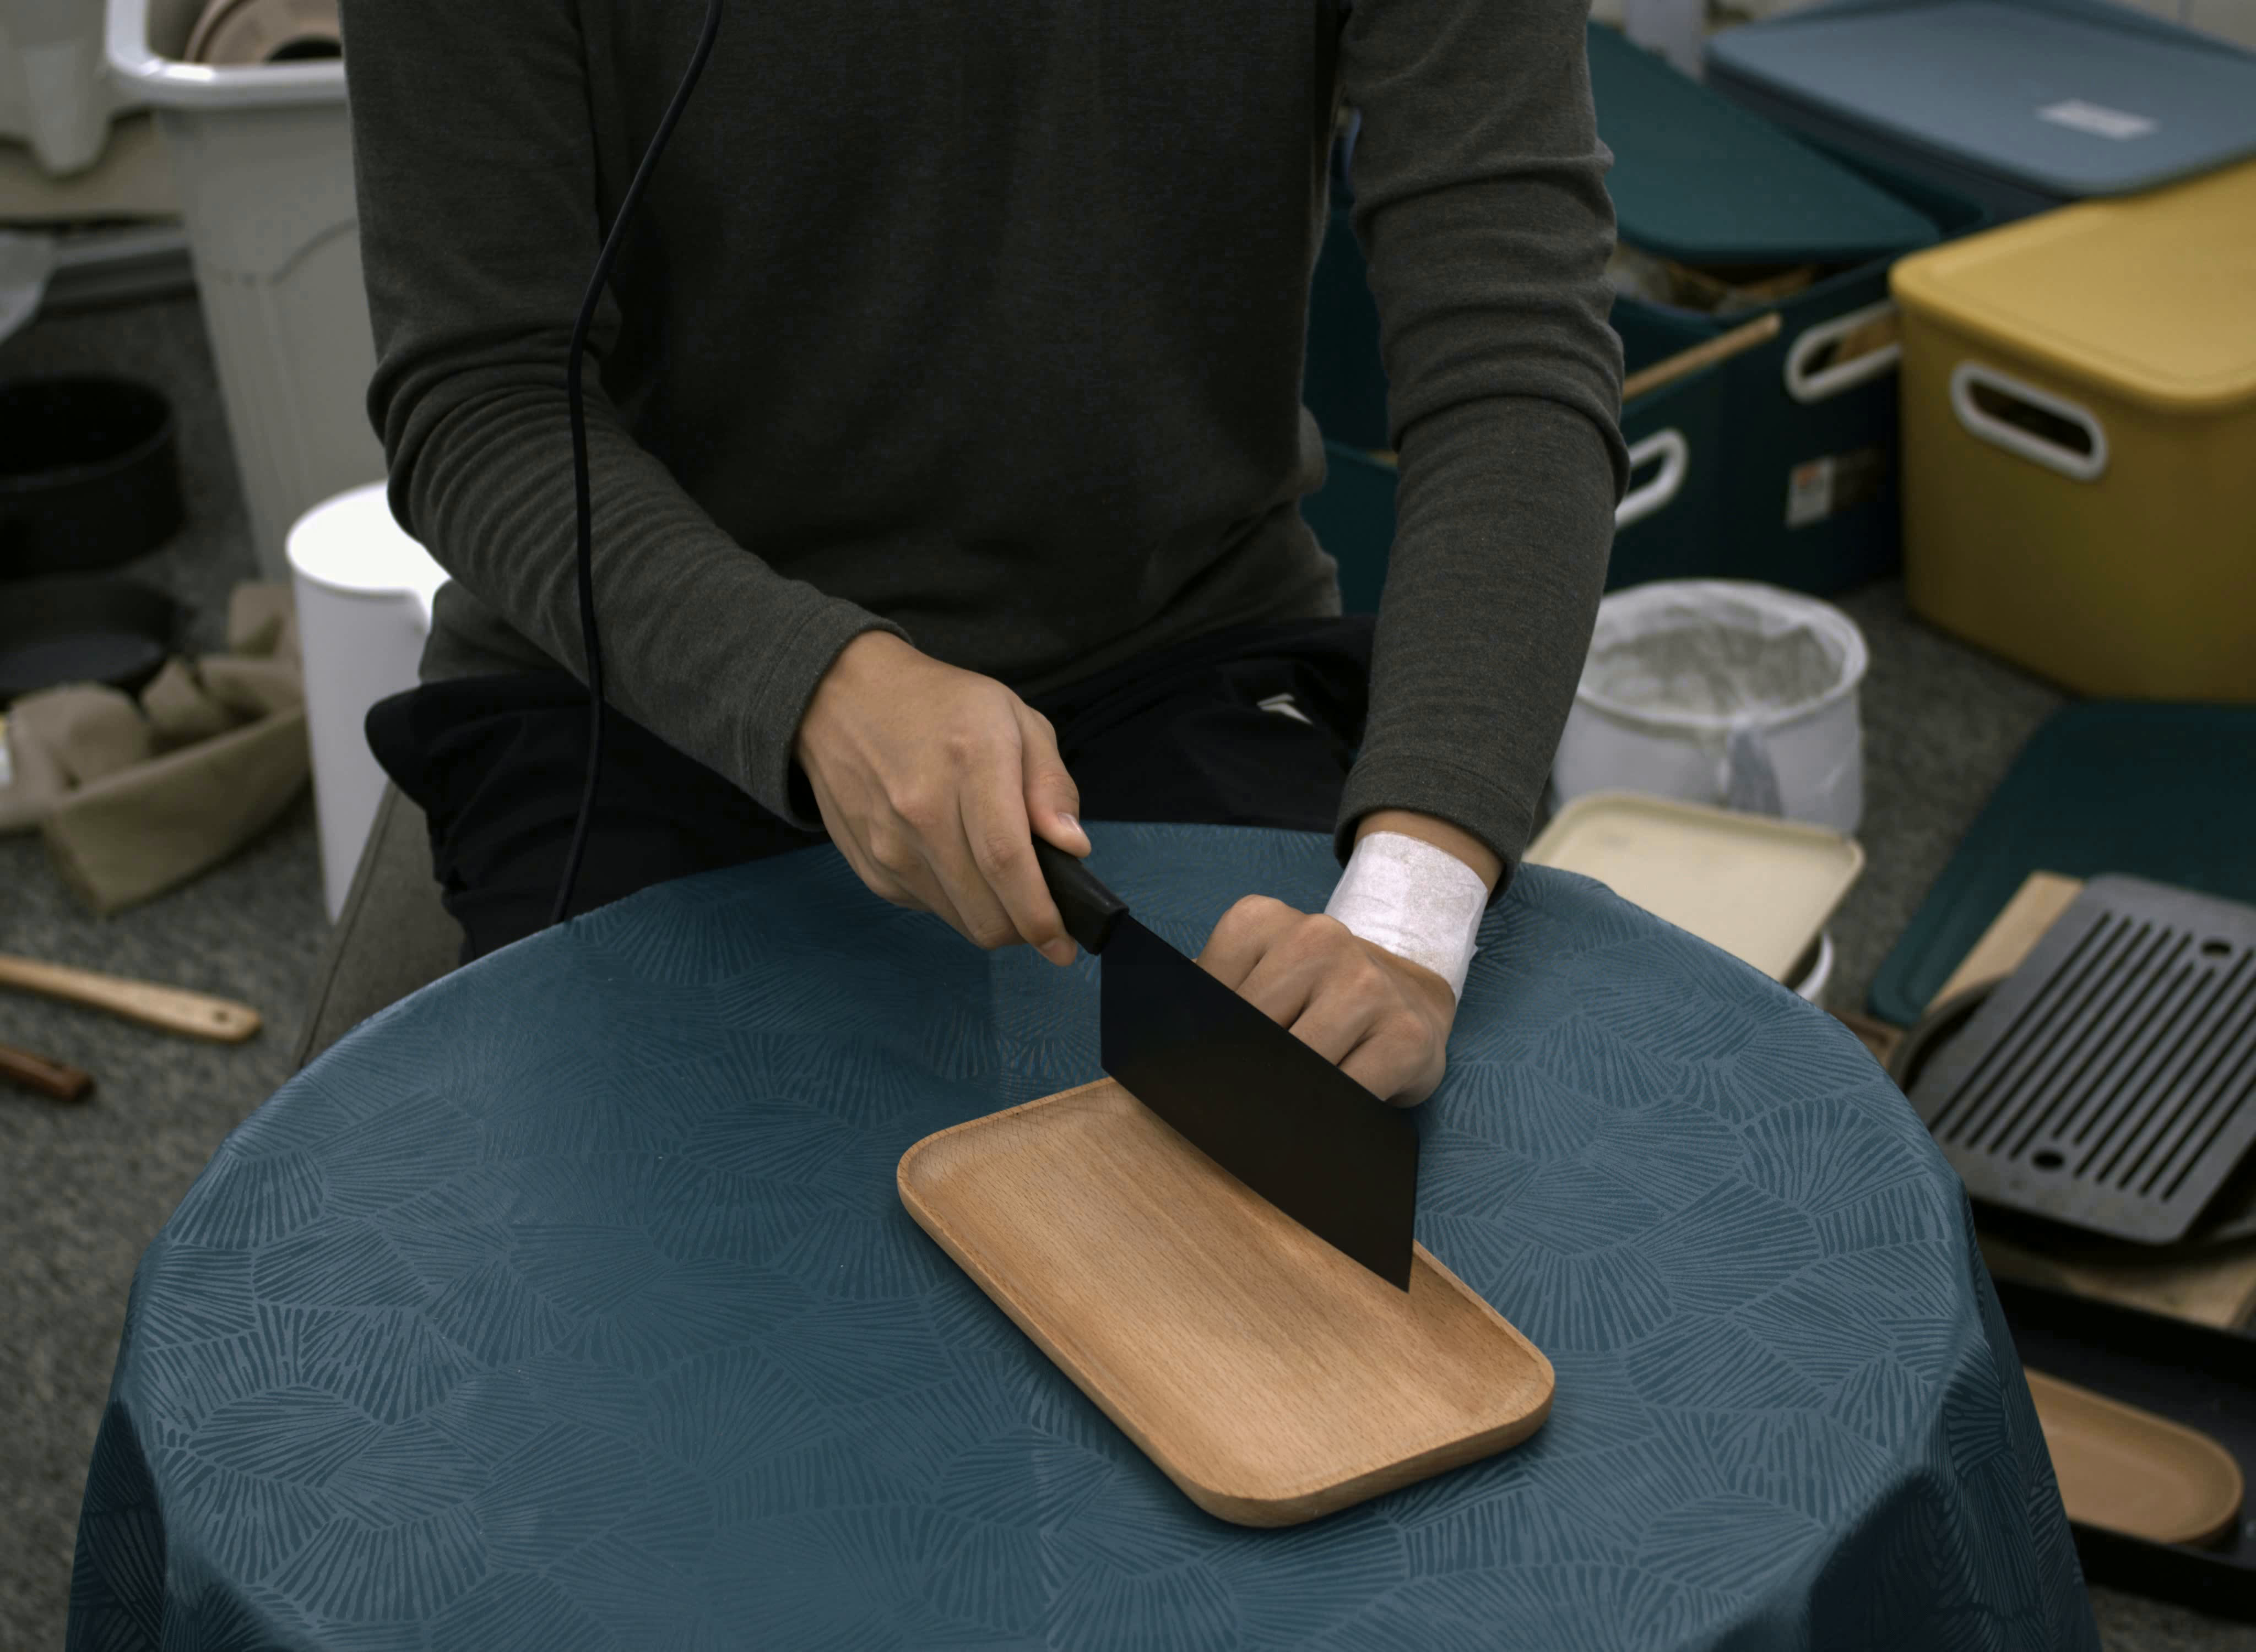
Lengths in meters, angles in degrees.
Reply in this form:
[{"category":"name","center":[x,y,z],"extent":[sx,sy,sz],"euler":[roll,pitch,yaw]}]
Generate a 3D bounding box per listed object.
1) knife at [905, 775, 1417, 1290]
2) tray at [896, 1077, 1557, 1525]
[{"category":"knife","center":[0.009,0.061,1.853],"extent":[0.021,0.080,0.304],"euler":[-13,33,-30]},{"category":"tray","center":[0.027,0.147,1.793],"extent":[0.131,0.022,0.252],"euler":[-13,28,-24]}]
